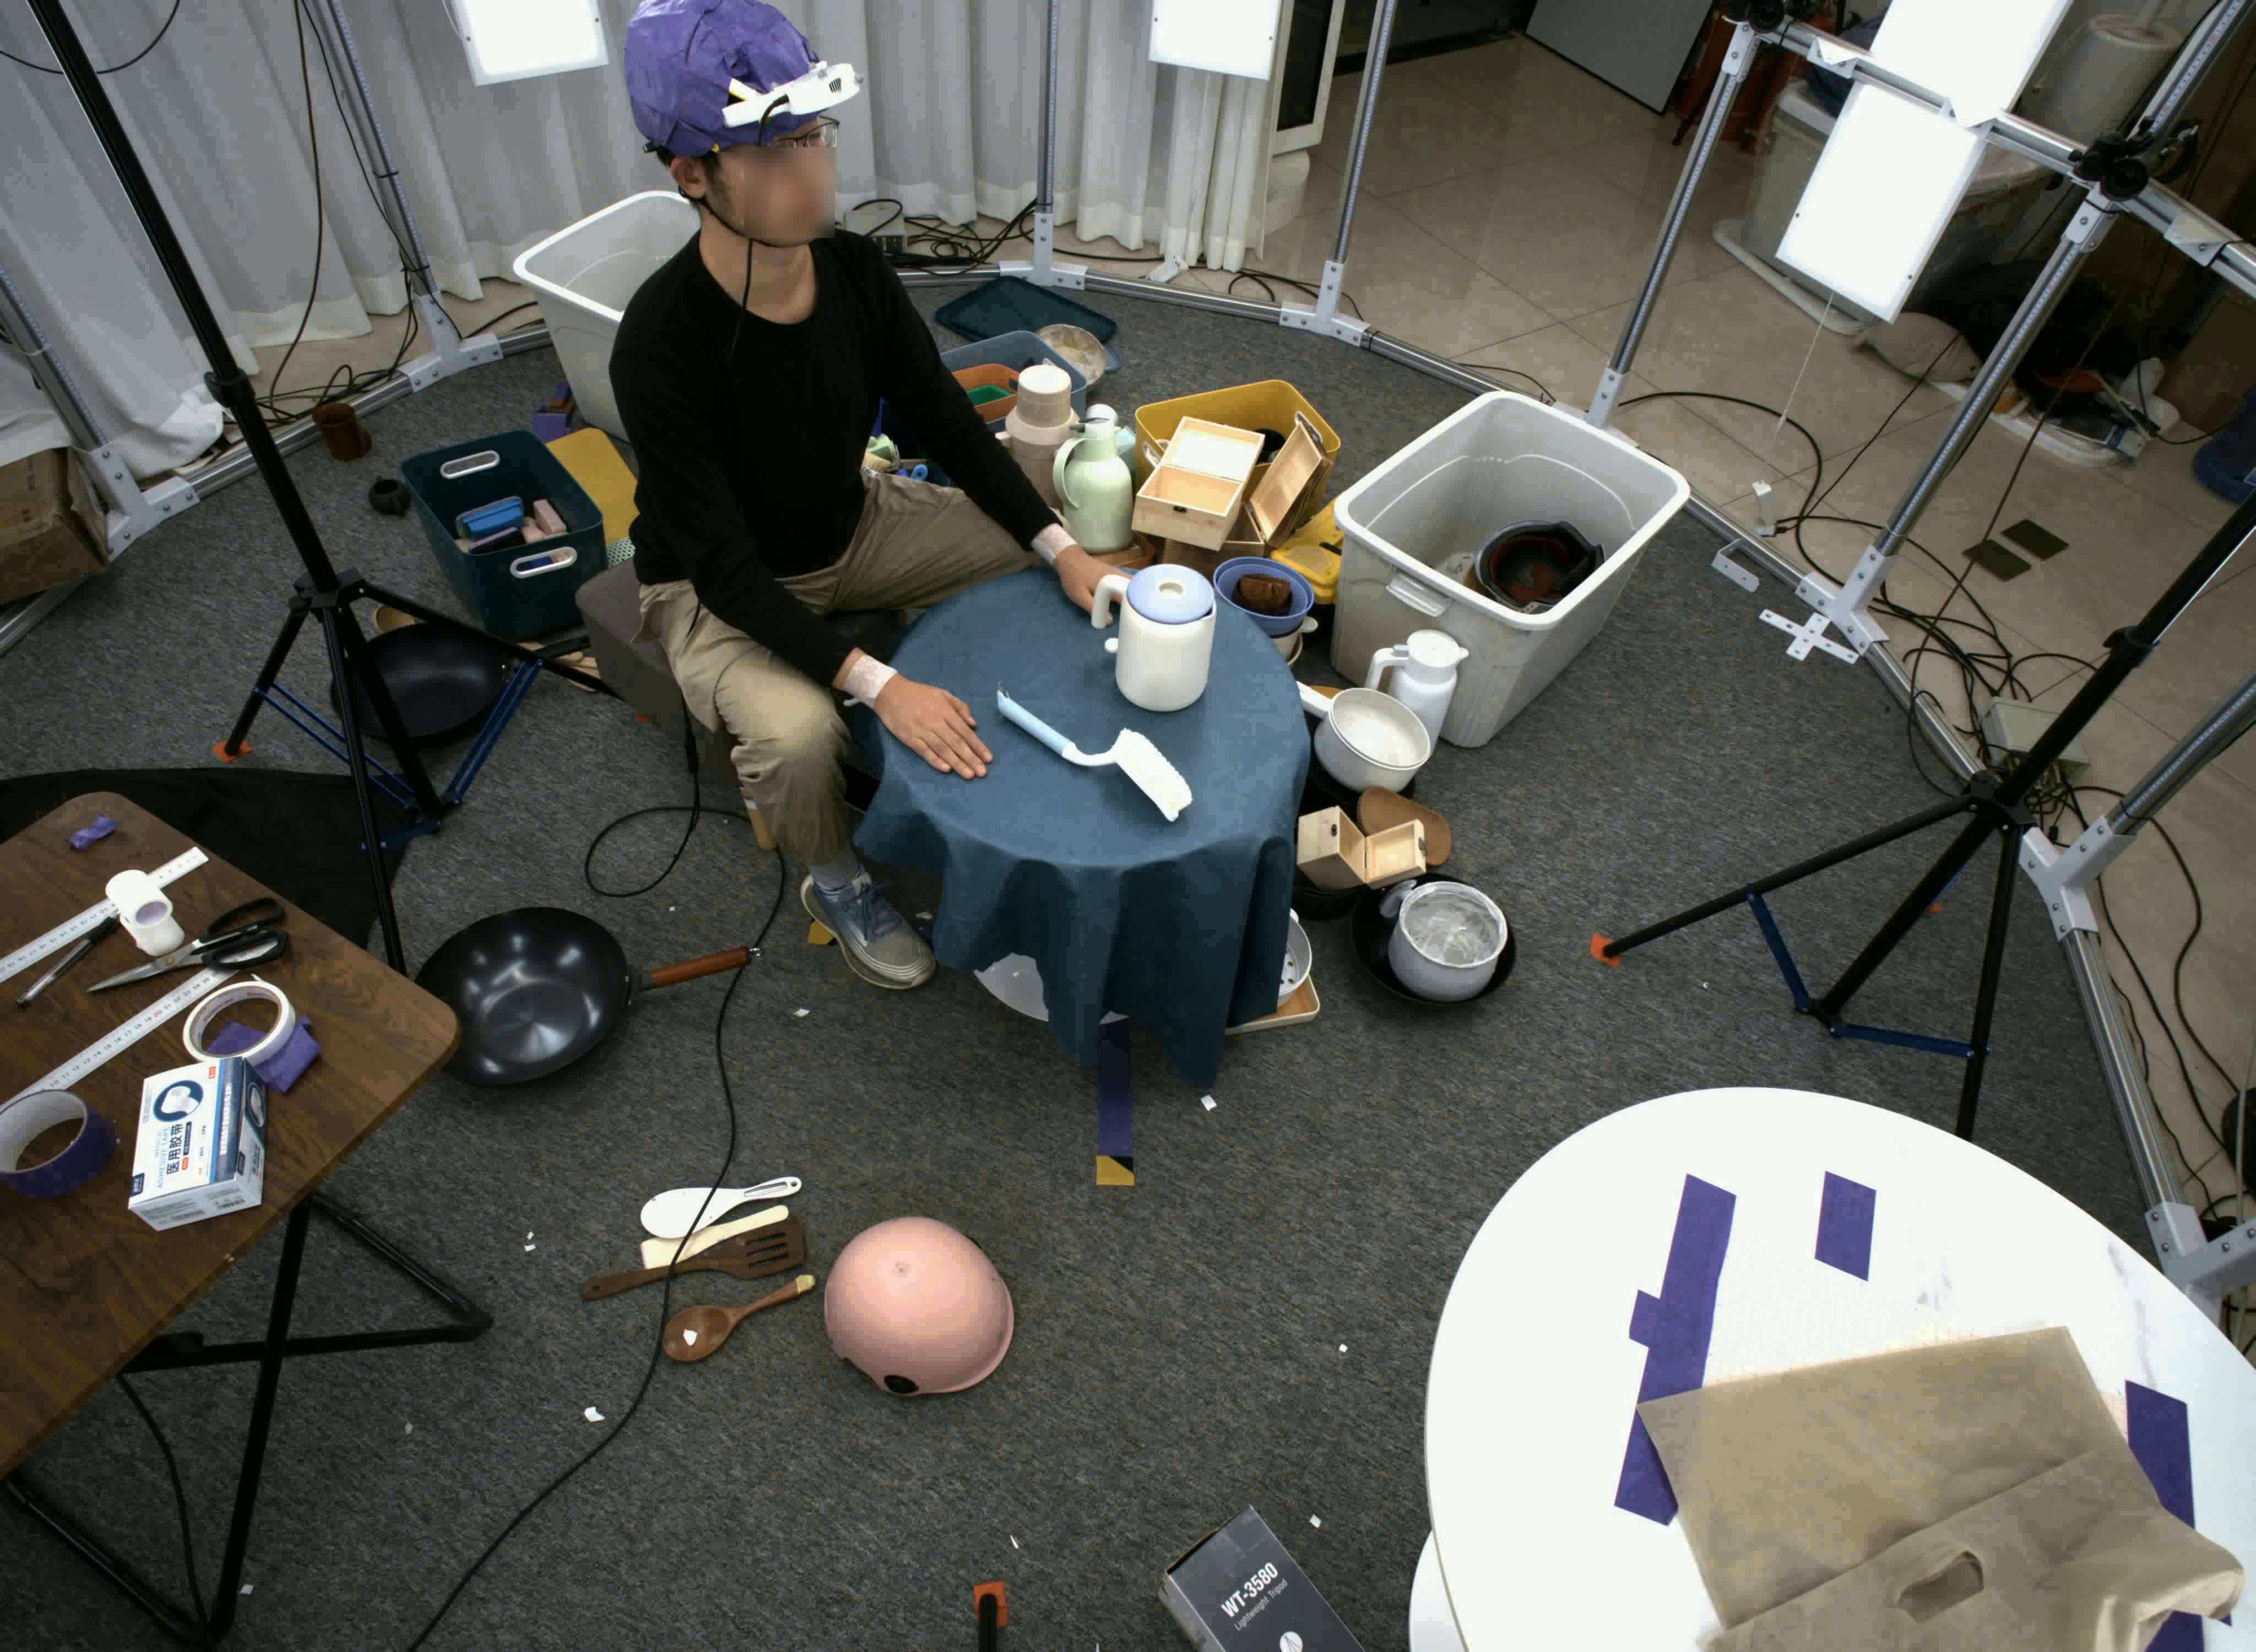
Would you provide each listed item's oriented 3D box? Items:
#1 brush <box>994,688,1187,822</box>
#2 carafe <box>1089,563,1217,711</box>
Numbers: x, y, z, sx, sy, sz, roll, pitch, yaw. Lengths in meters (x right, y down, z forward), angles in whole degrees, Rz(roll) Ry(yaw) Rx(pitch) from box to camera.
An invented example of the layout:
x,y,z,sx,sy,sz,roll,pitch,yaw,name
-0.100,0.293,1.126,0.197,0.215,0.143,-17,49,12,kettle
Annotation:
x,y,z,sx,sy,sz,roll,pitch,yaw,name
-0.048,-0.124,1.722,0.330,0.081,0.085,36,62,23,brush
0.031,-0.273,1.797,0.193,0.178,0.134,26,52,18,carafe
